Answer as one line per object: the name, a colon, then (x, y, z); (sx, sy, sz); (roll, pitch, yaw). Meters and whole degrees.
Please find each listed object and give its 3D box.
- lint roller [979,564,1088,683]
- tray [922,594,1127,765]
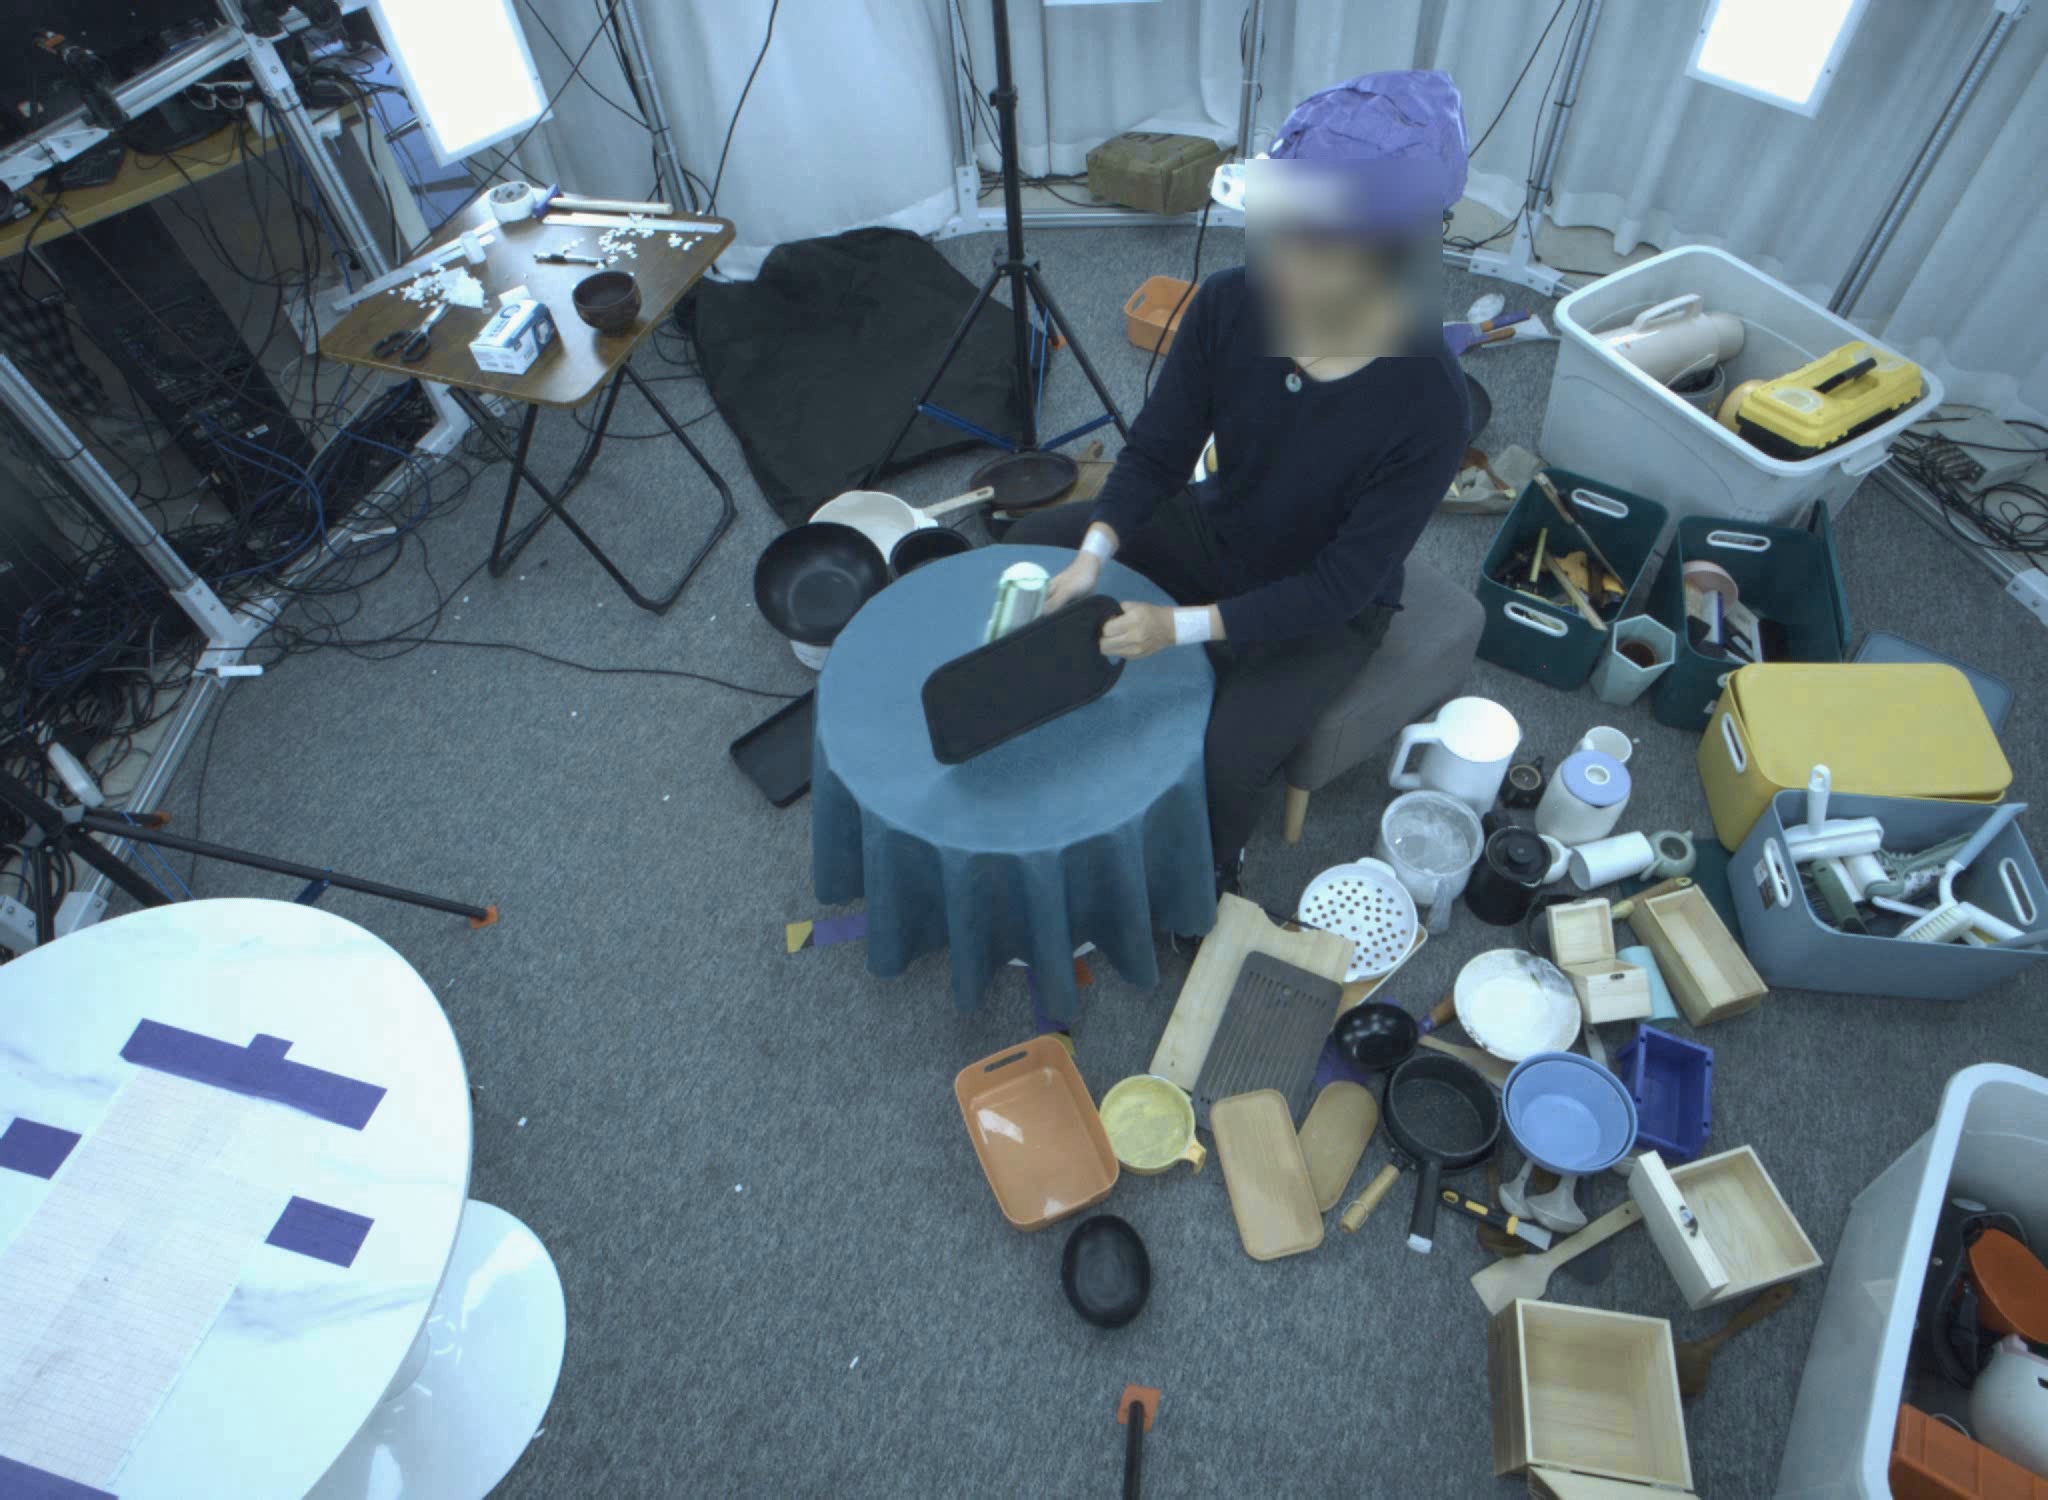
lint roller: (0.007, -0.193, 1.712); (0.081, 0.199, 0.185); (39, 49, 20)
tray: (0.008, -0.100, 1.727); (0.328, 0.213, 0.009); (-27, 55, -16)
